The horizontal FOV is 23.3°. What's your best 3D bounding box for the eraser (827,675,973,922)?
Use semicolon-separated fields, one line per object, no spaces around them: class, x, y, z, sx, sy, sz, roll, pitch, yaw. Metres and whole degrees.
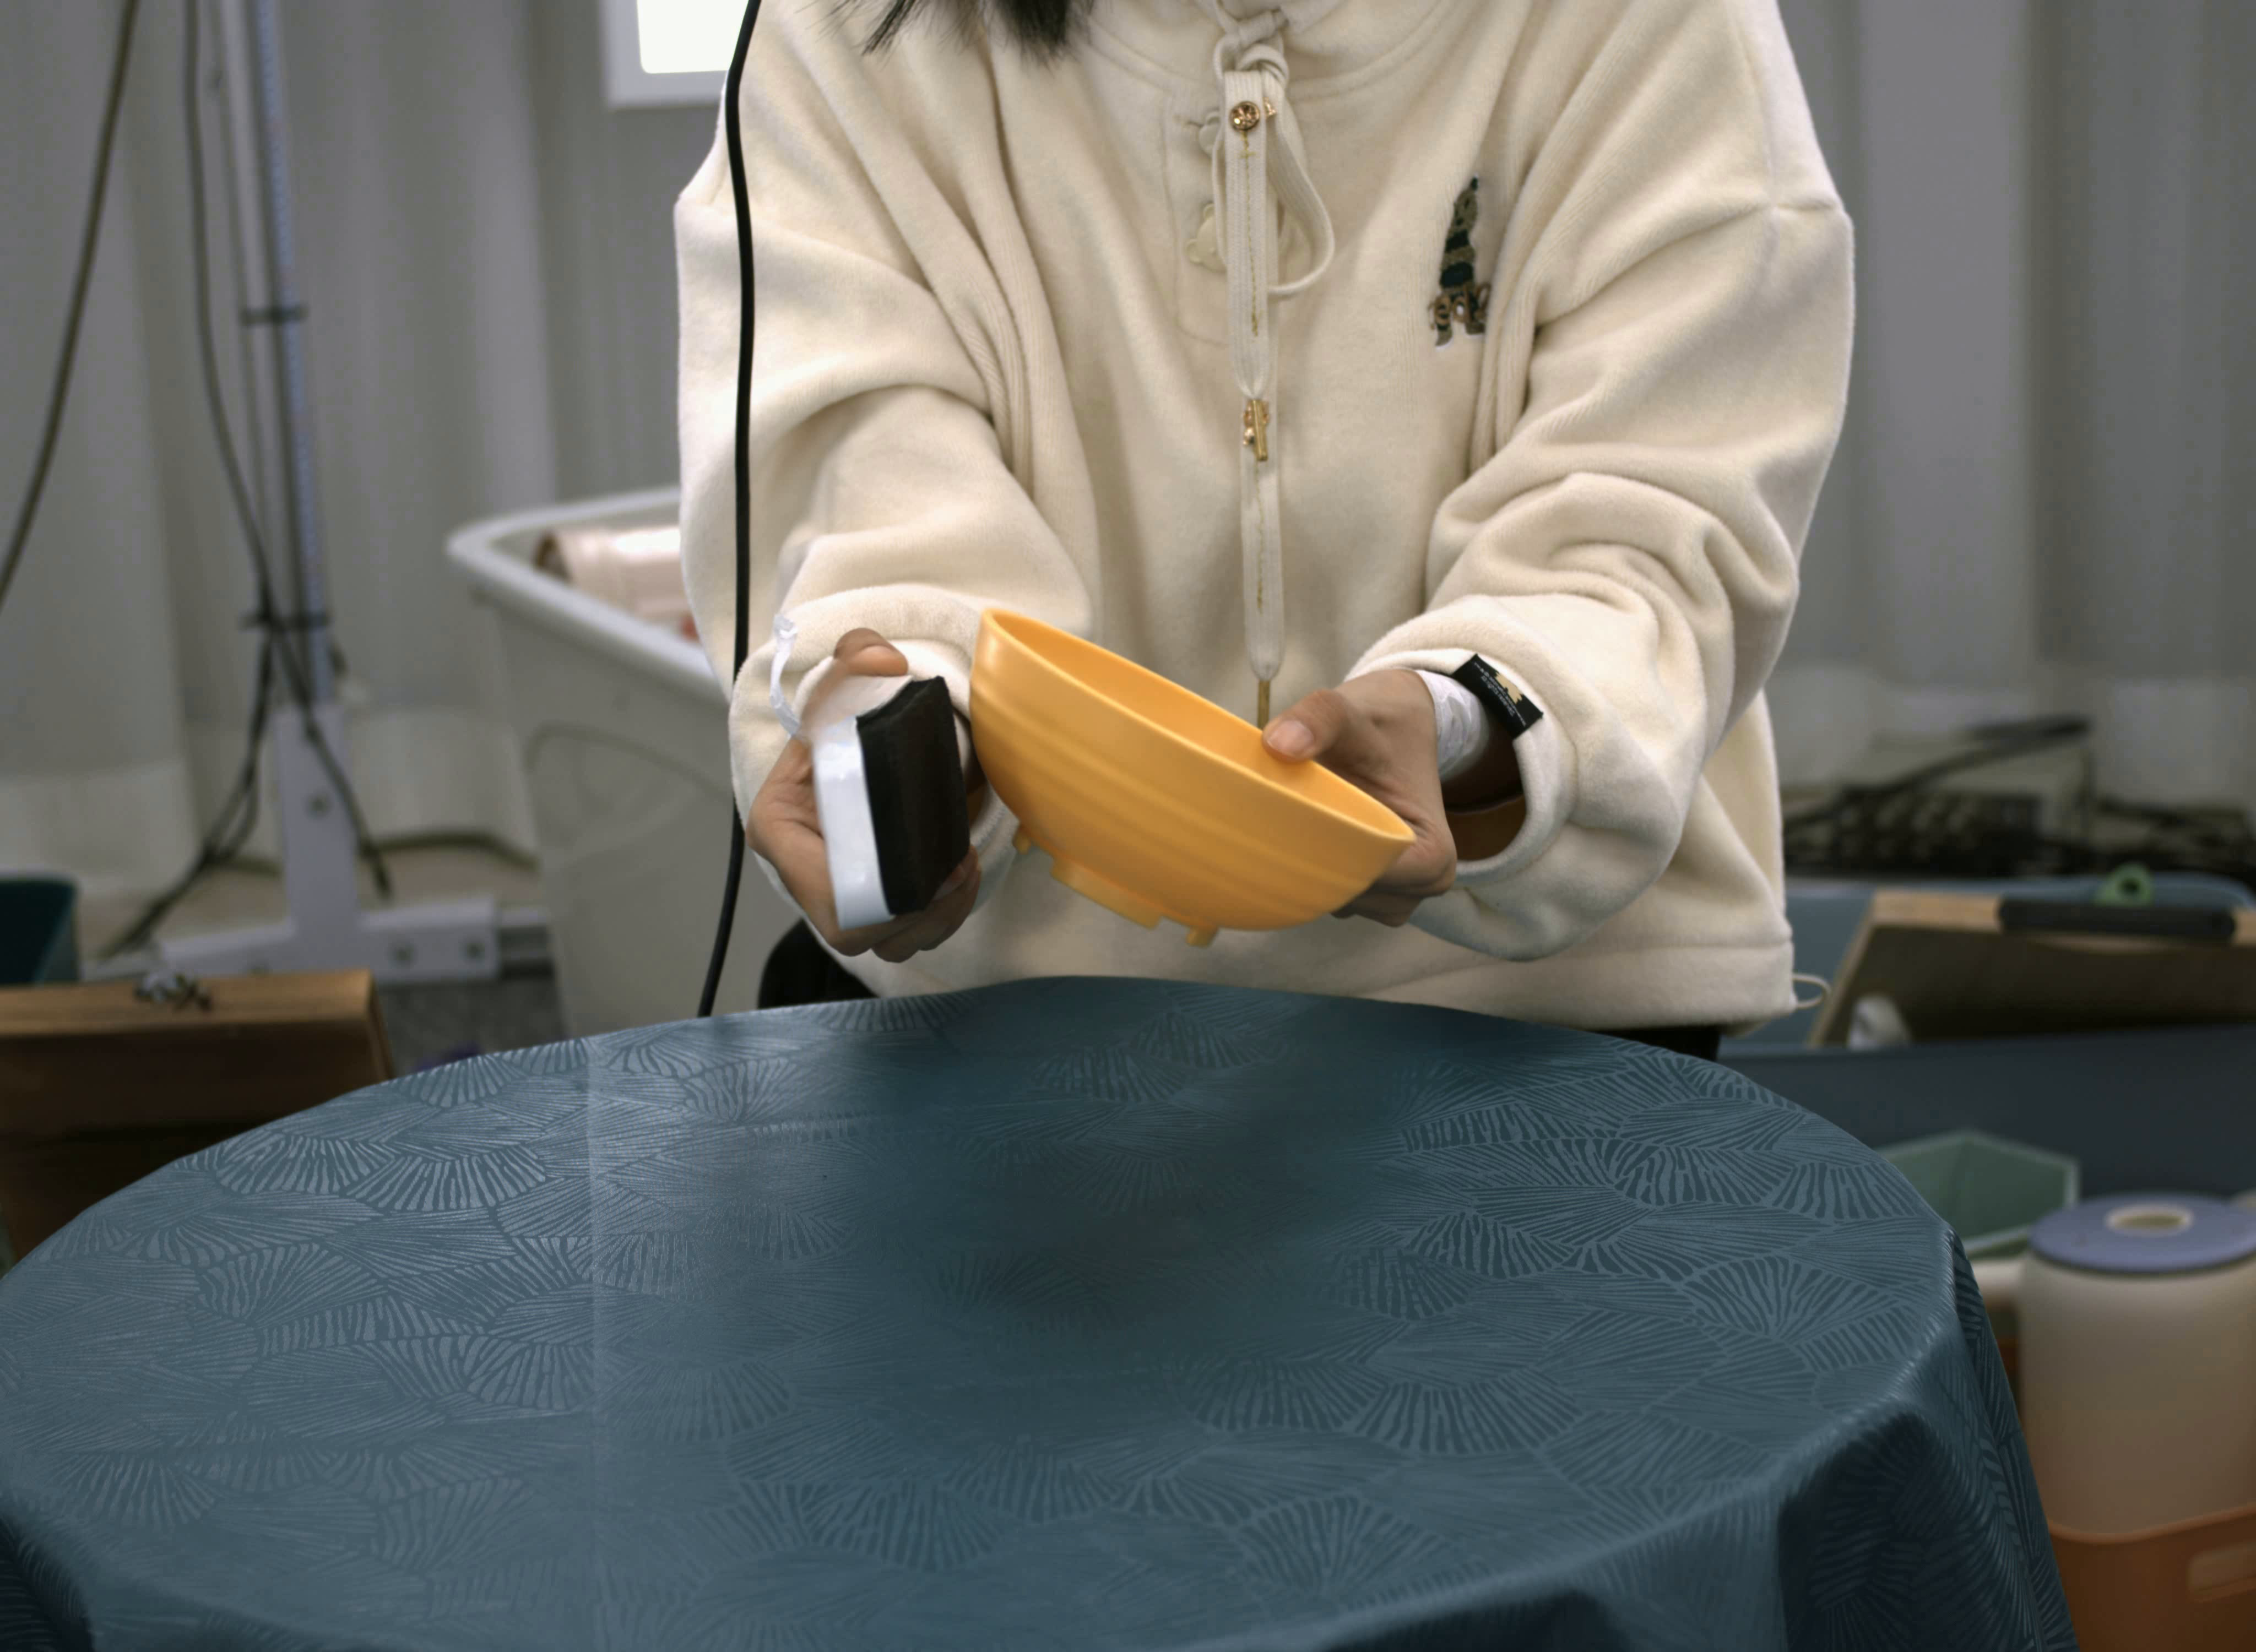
eraser;-0.070;-0.011;1.609;0.034;0.063;0.131;-6;7;5

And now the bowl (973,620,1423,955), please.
bowl;0.010;-0.003;1.614;0.145;0.060;0.146;26;8;-4
